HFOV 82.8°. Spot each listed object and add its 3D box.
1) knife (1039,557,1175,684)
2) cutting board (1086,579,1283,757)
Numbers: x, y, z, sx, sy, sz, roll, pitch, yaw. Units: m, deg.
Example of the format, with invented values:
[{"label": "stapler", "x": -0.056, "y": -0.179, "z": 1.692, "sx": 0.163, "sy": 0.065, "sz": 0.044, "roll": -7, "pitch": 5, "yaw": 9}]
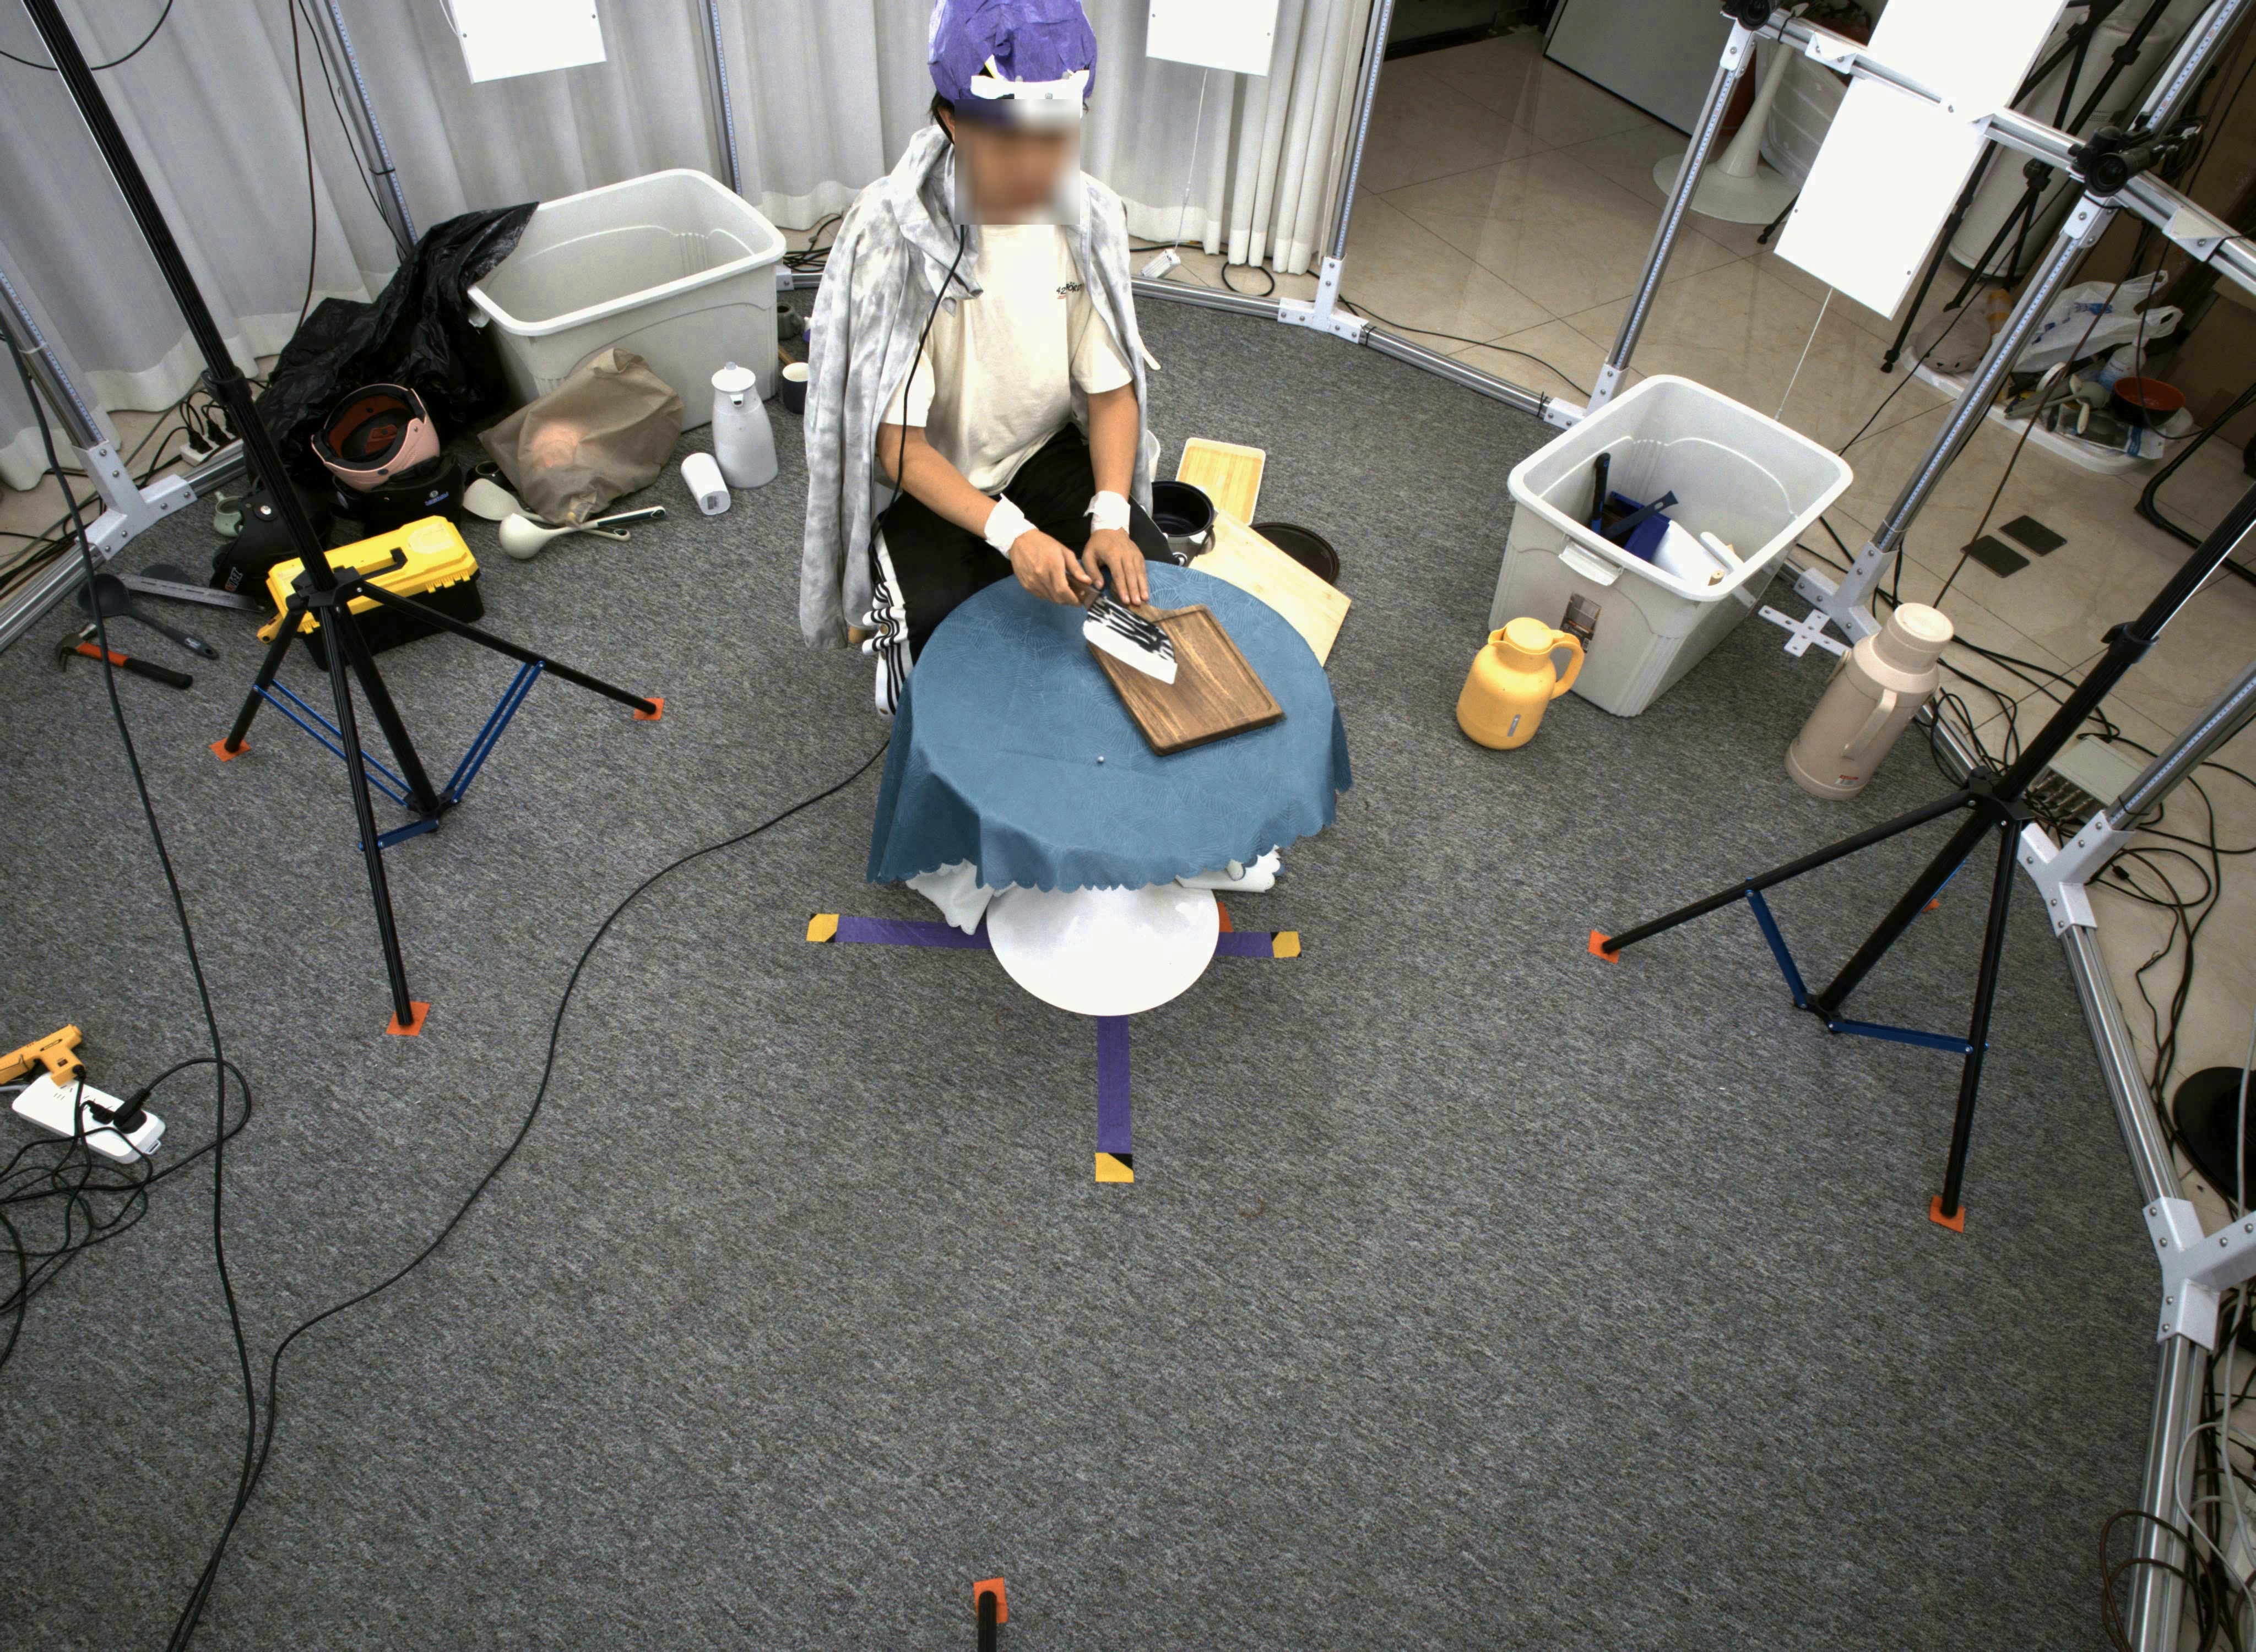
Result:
[{"label": "knife", "x": -0.034, "y": -0.295, "z": 1.837, "sx": 0.304, "sy": 0.067, "sz": 0.024, "roll": 38, "pitch": 16, "yaw": 30}, {"label": "cutting board", "x": 0.057, "y": -0.250, "z": 1.872, "sx": 0.201, "sy": 0.022, "sz": 0.360, "roll": -18, "pitch": 52, "yaw": -17}]
